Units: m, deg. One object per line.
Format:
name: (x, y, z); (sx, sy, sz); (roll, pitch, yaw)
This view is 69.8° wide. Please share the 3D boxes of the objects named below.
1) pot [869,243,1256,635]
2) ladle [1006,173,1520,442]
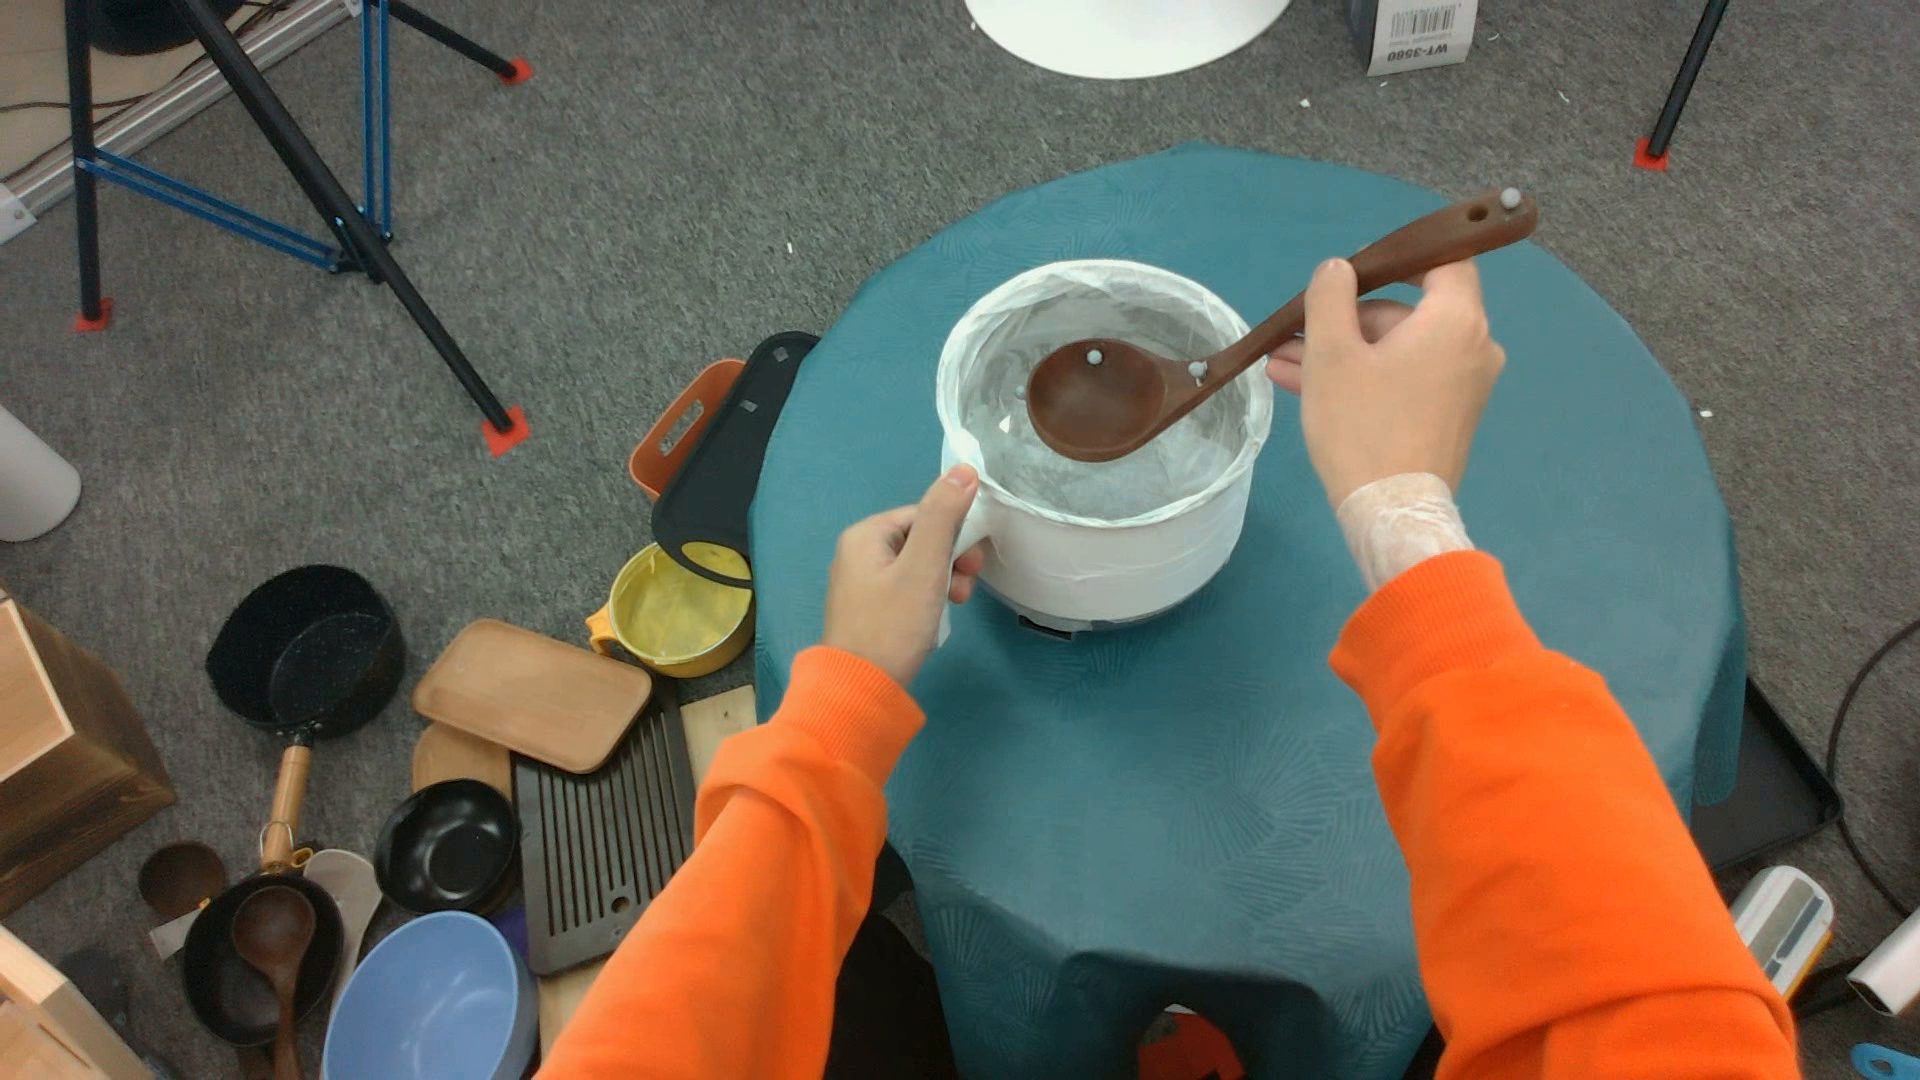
pot: (0.047, -0.042, 0.765); (0.234, 0.136, 0.179); (-38, 64, -20)
ladle: (0.132, -0.116, 0.658); (0.259, 0.065, 0.077); (-25, 55, 39)
